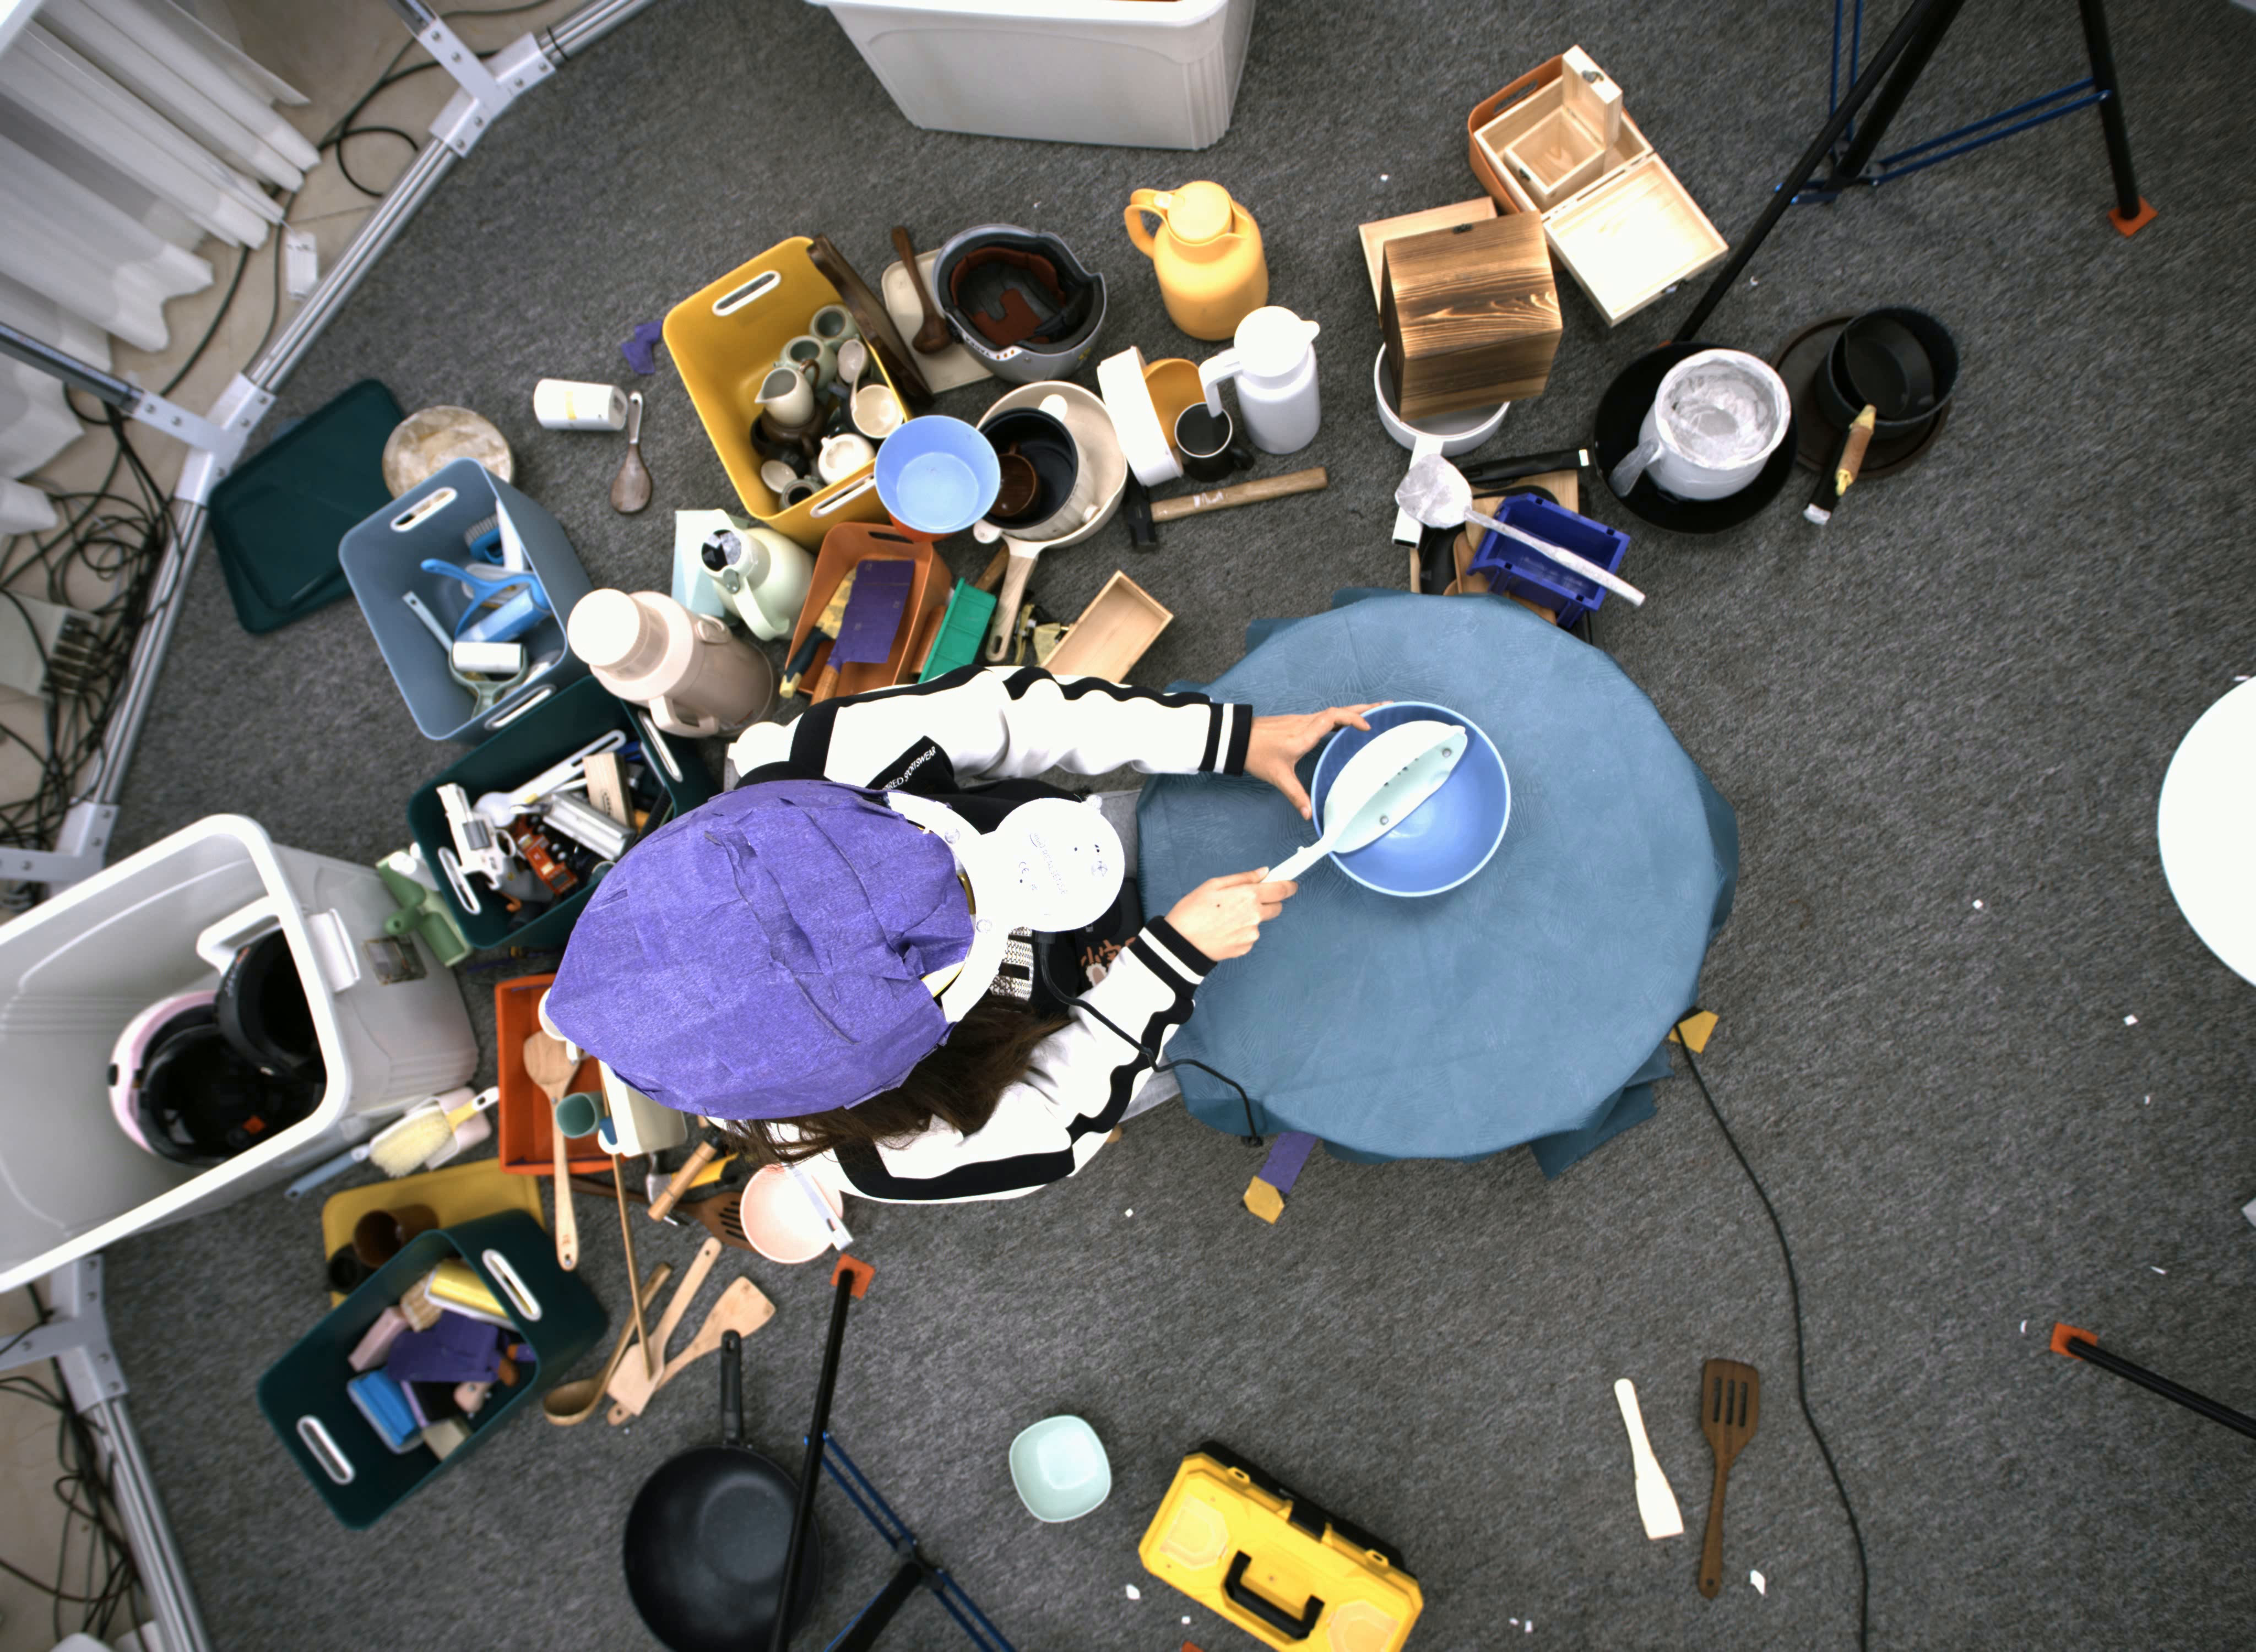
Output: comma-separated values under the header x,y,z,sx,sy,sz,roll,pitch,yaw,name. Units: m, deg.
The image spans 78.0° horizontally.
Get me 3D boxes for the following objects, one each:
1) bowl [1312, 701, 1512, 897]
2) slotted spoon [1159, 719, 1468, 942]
x,y,z,sx,sy,sz,roll,pitch,yaw,name
0.289,-0.024,1.414,0.197,0.095,0.195,-1,87,10,bowl
0.184,0.013,1.349,0.356,0.172,0.075,-43,71,-10,slotted spoon
